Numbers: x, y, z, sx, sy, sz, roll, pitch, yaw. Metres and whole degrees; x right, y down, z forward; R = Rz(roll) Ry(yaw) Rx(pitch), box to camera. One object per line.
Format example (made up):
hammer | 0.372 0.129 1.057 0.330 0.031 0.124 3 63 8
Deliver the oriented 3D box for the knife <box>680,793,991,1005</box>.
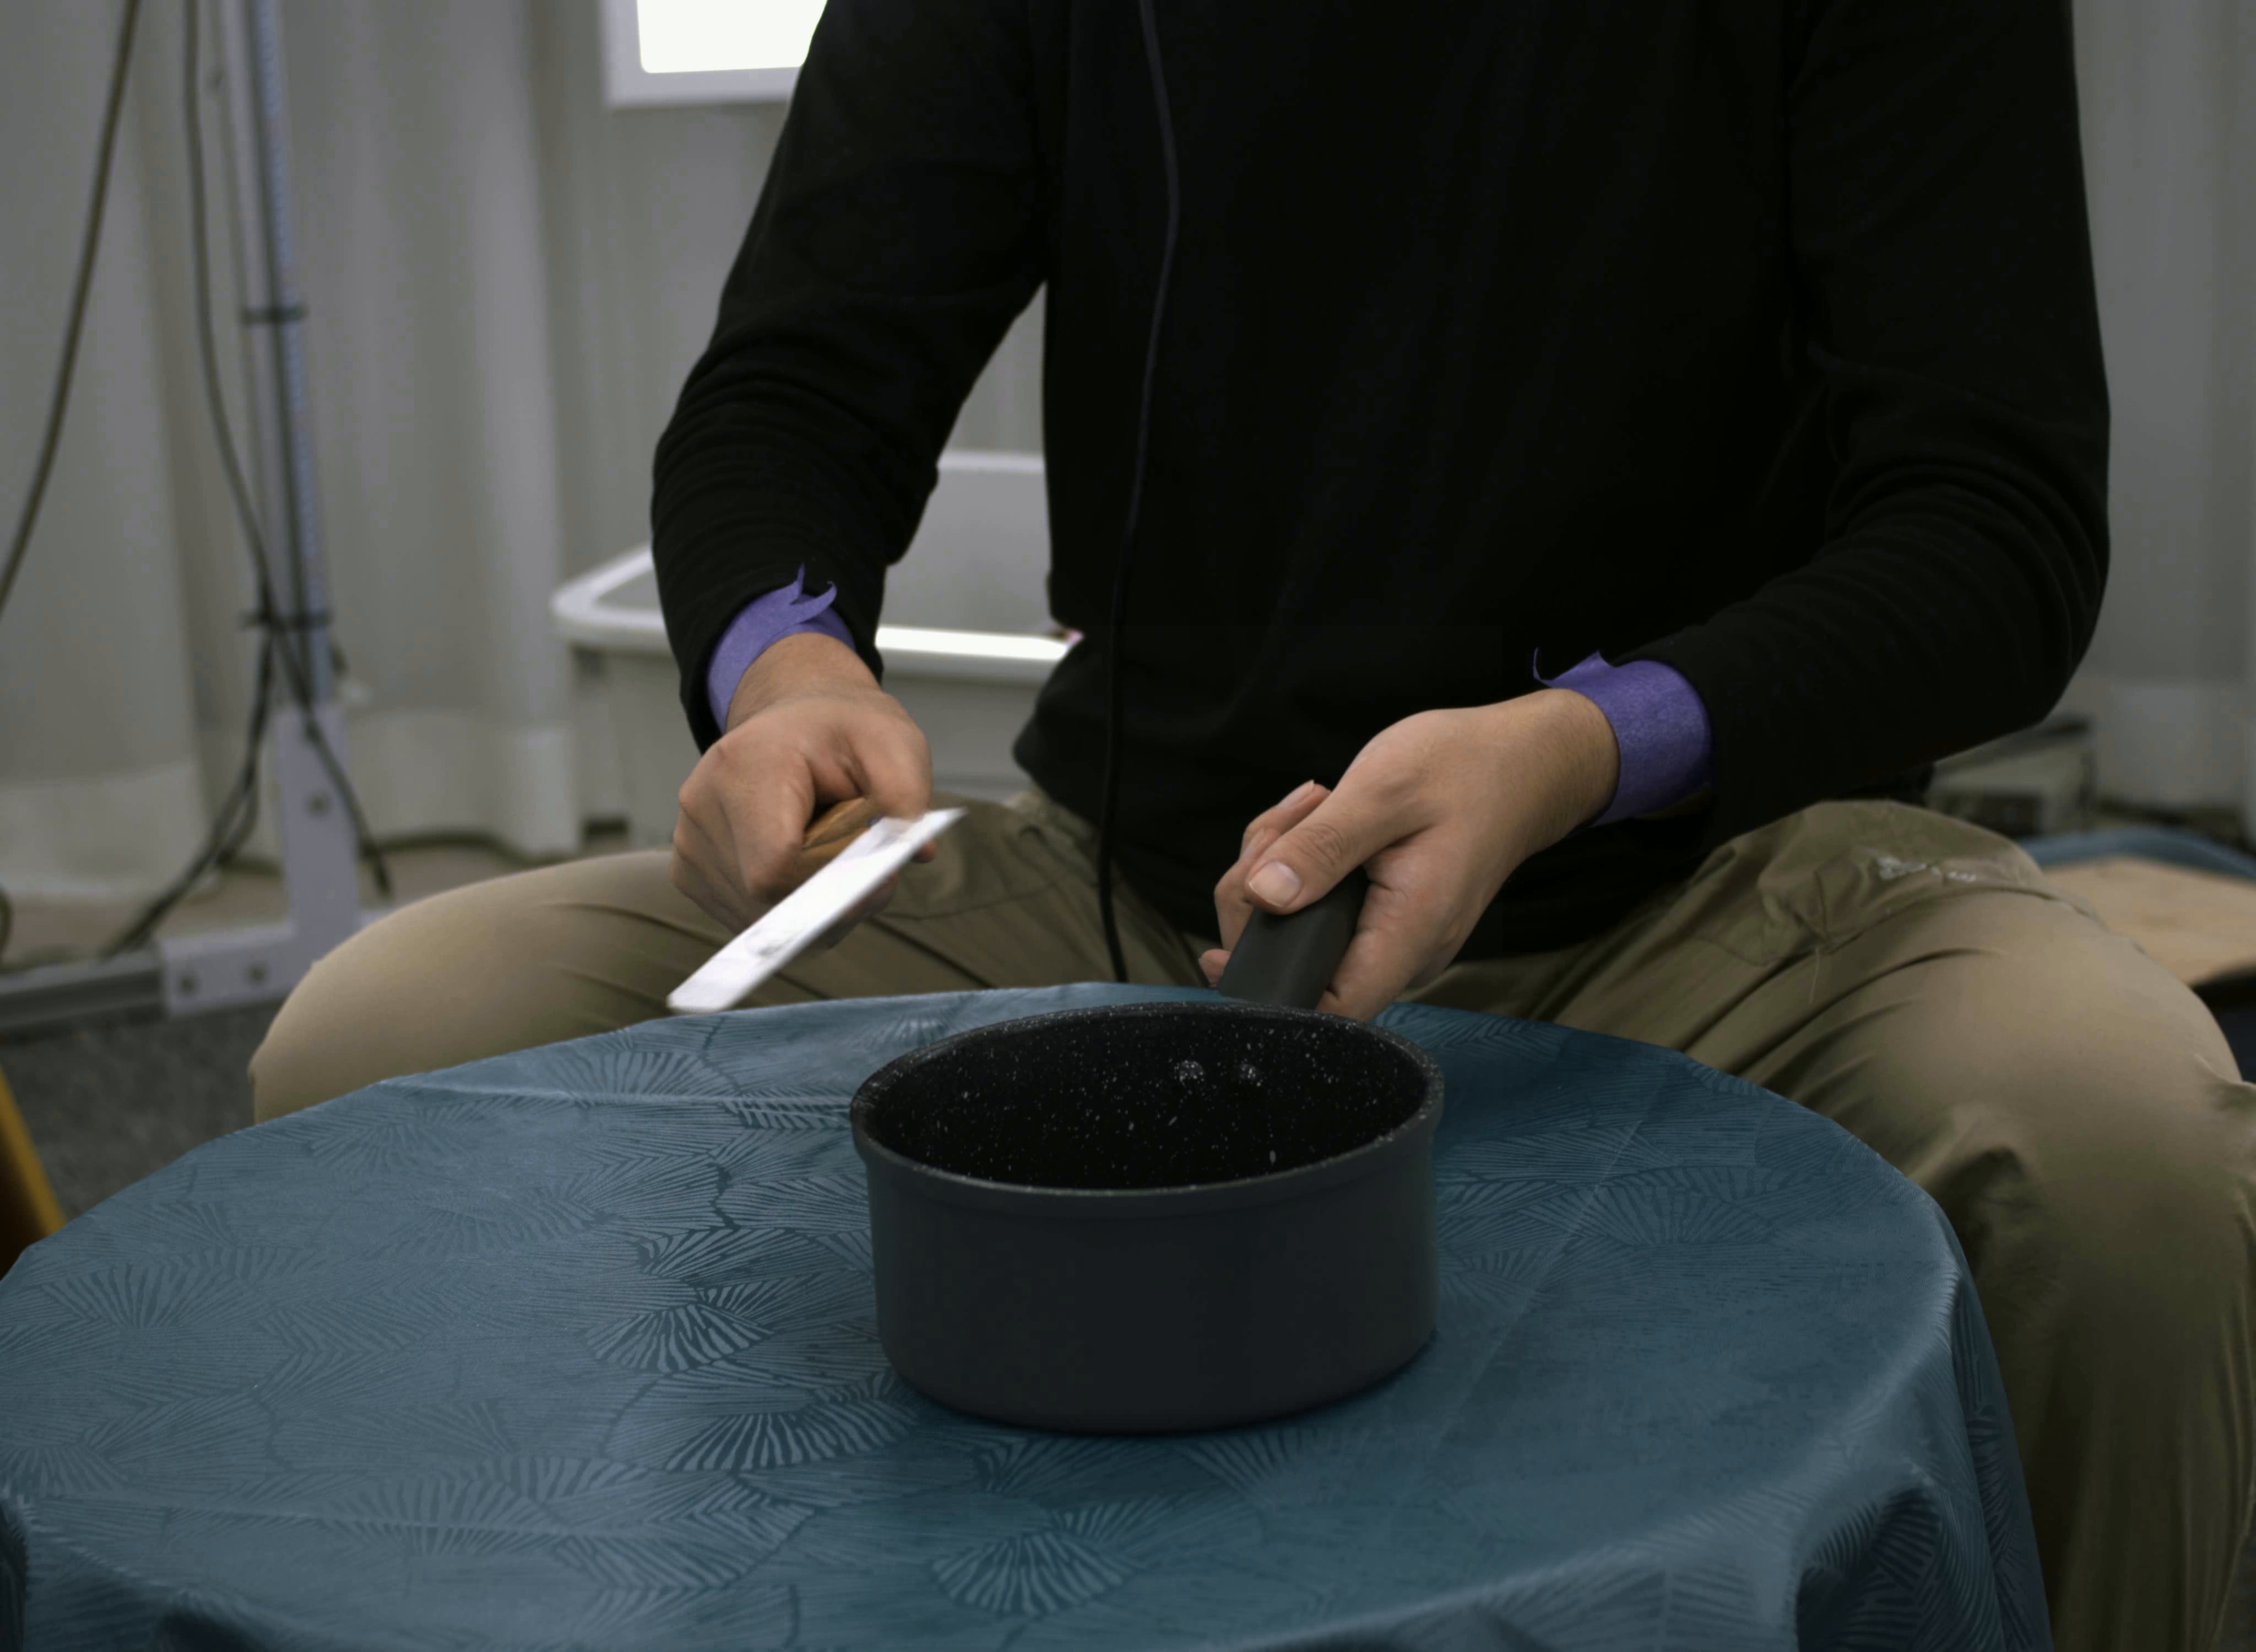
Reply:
knife | -0.098 0.023 1.671 0.093 0.021 0.306 -40 6 -9

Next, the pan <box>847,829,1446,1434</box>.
pan | 0.031 0.088 1.645 0.172 0.086 0.330 2 17 18
